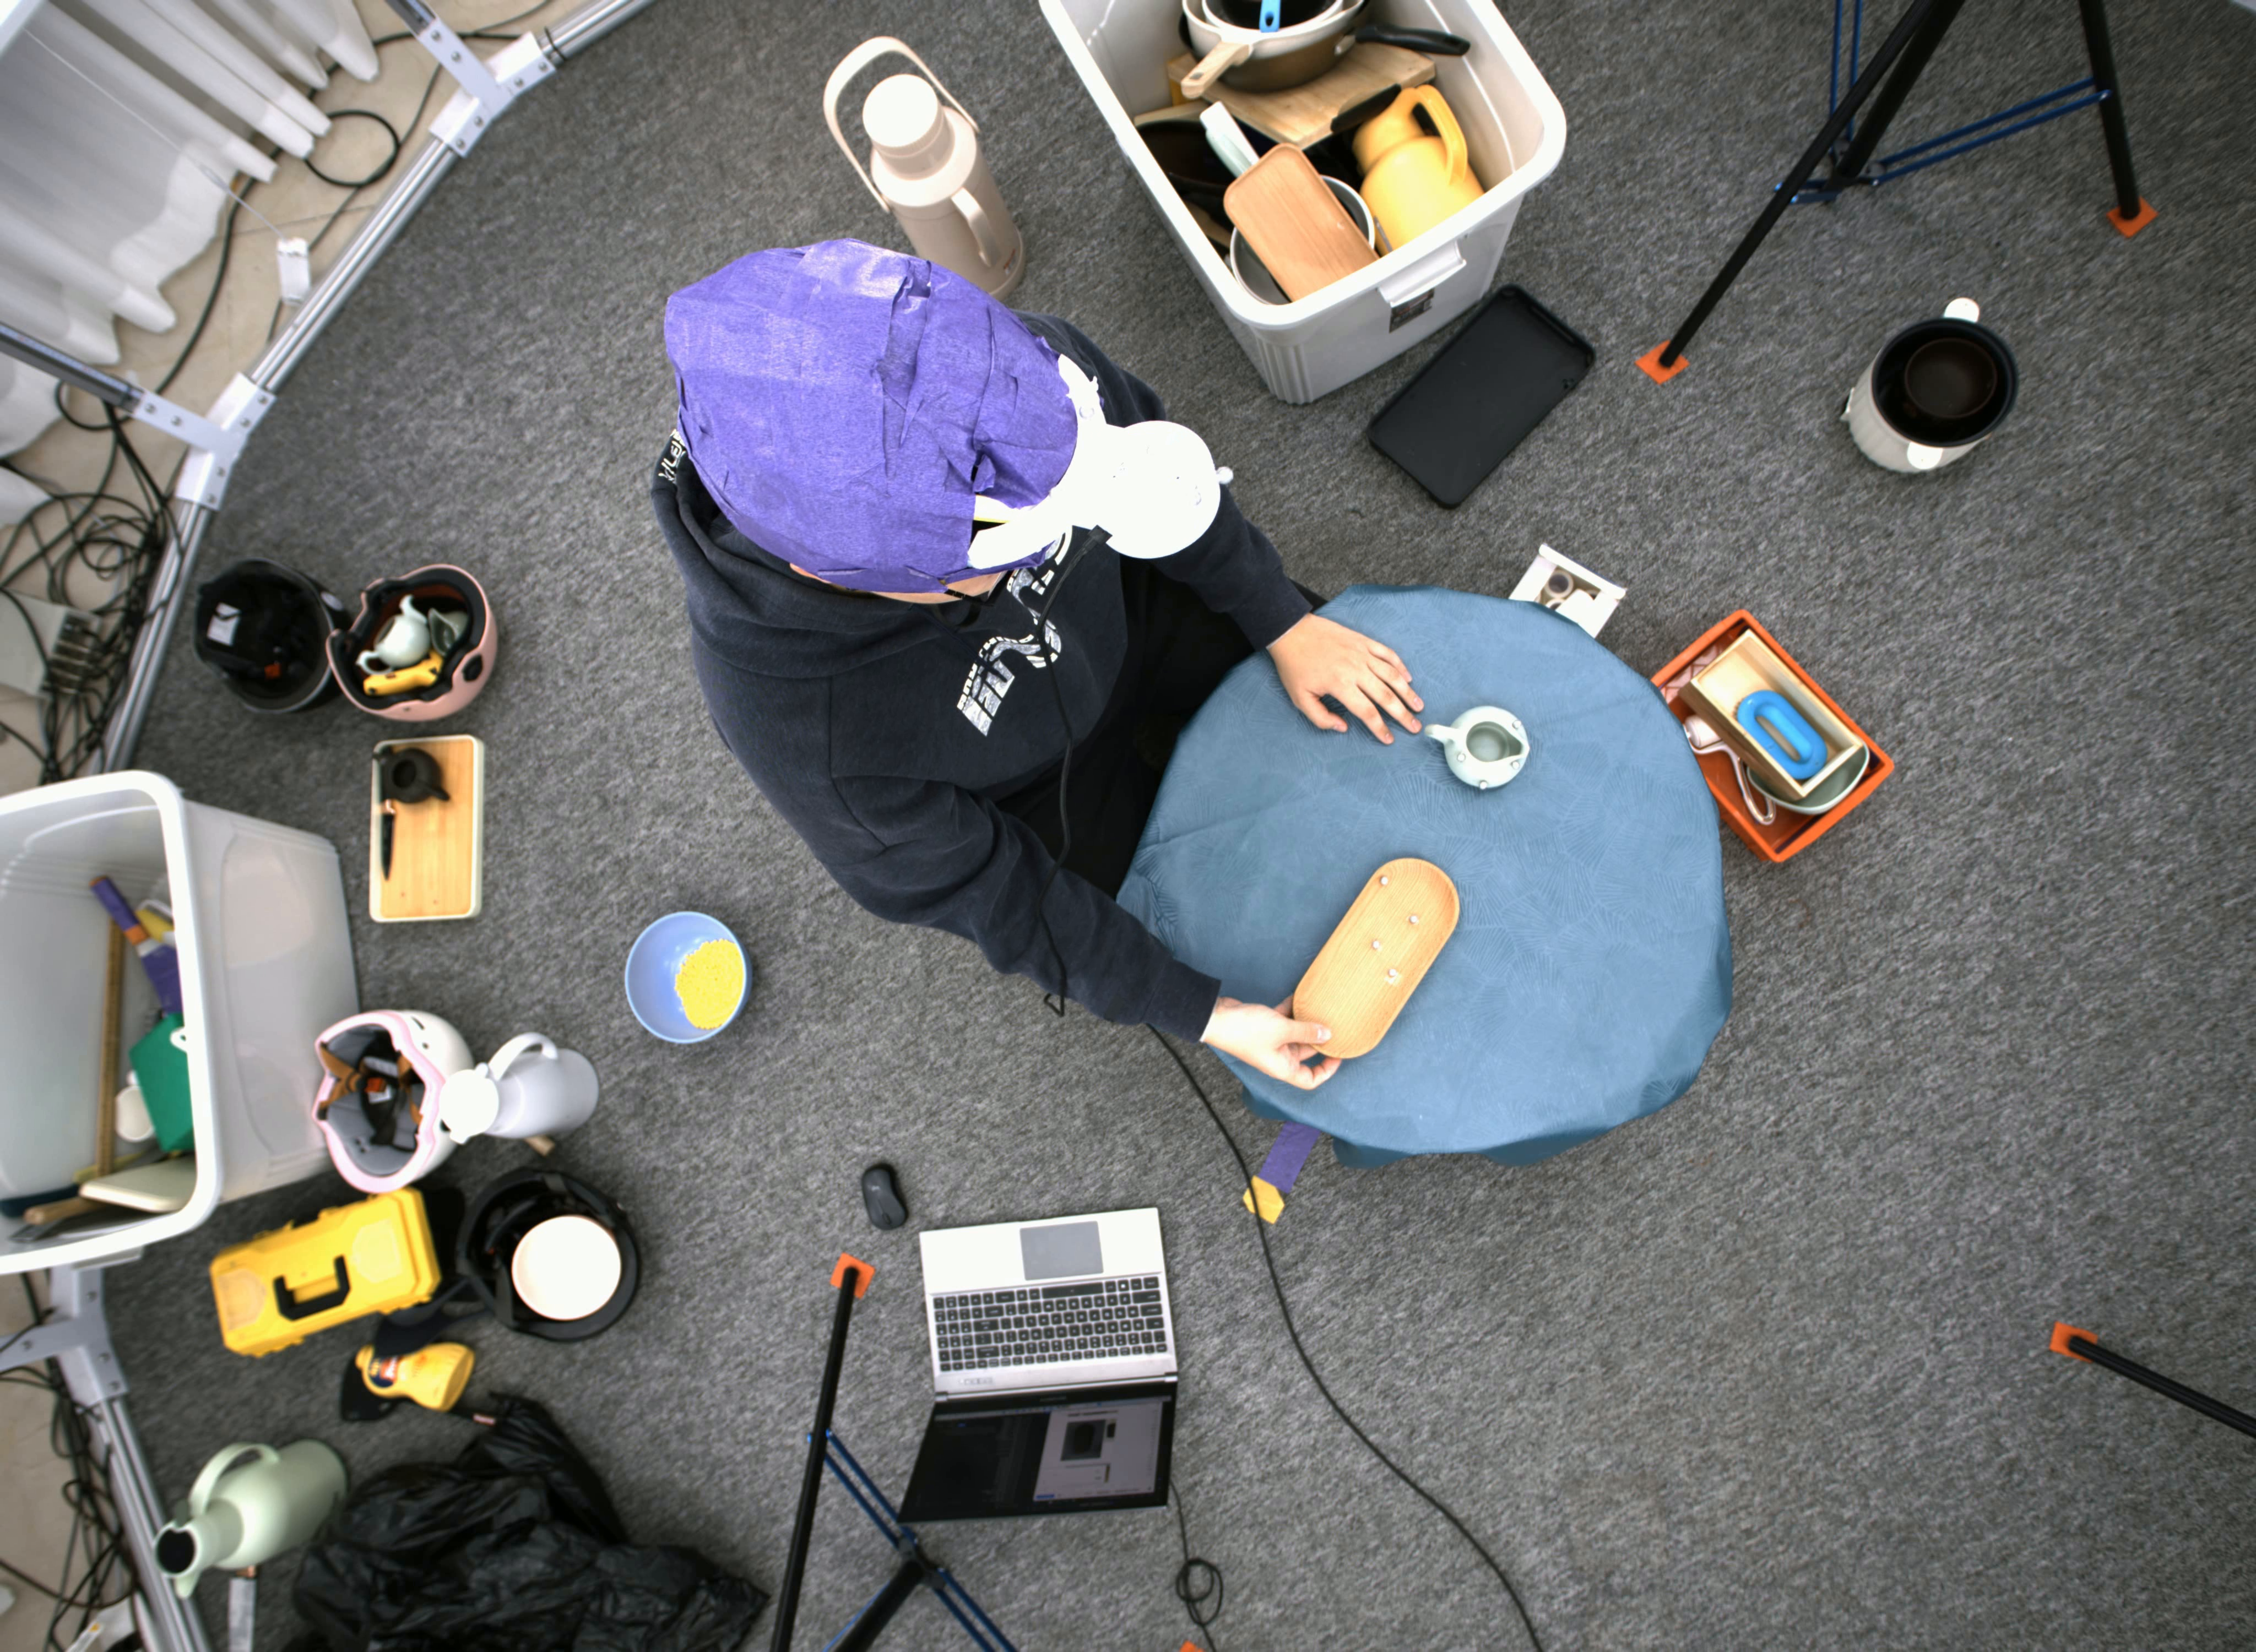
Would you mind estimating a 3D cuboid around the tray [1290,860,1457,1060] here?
[{"bbox_3d":[0.254,0.136,1.428,0.101,0.020,0.229,33,83,13],"label":"tray"}]

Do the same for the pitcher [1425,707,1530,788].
[{"bbox_3d":[0.363,-0.087,1.425,0.108,0.060,0.086,12,87,13],"label":"pitcher"}]
